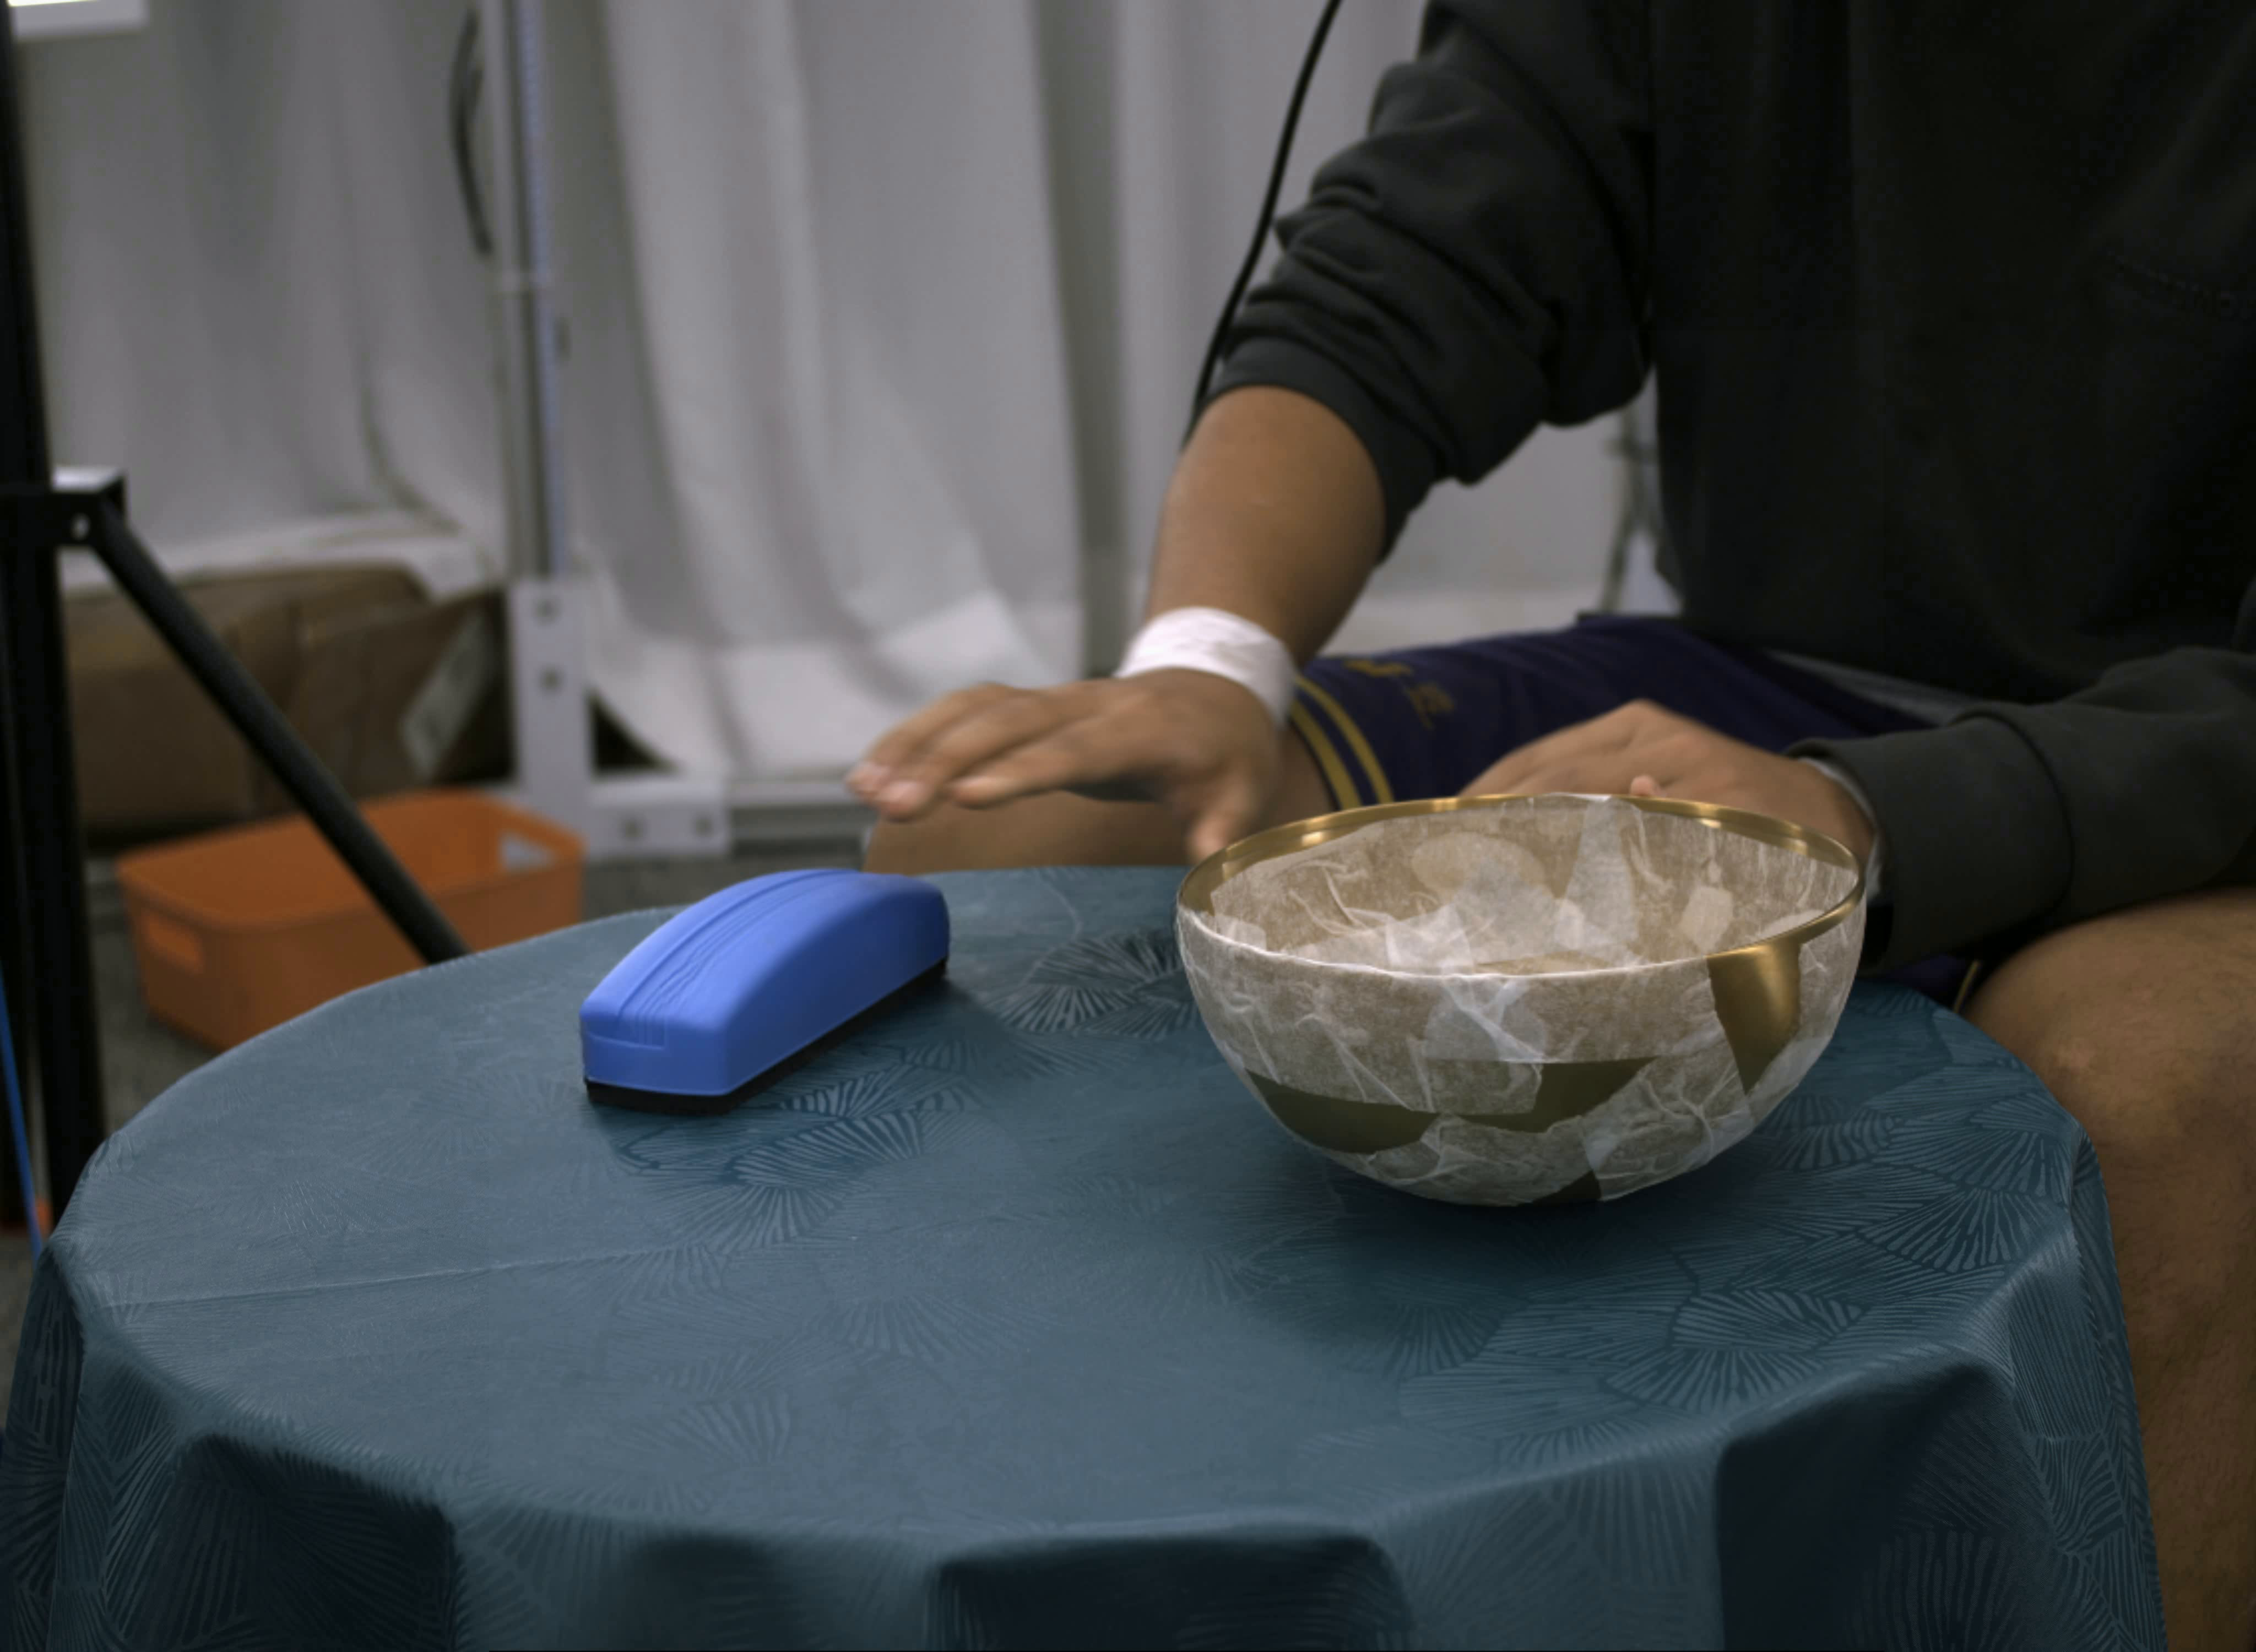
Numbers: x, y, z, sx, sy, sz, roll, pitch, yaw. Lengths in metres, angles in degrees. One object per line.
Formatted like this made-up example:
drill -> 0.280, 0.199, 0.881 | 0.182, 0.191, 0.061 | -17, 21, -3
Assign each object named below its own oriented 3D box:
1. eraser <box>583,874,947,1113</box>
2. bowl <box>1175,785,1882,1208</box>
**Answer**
eraser -> -0.115, 0.047, 1.714 | 0.054, 0.047, 0.159 | 1, 15, 26
bowl -> 0.119, 0.057, 1.549 | 0.213, 0.094, 0.216 | -4, 14, 0
